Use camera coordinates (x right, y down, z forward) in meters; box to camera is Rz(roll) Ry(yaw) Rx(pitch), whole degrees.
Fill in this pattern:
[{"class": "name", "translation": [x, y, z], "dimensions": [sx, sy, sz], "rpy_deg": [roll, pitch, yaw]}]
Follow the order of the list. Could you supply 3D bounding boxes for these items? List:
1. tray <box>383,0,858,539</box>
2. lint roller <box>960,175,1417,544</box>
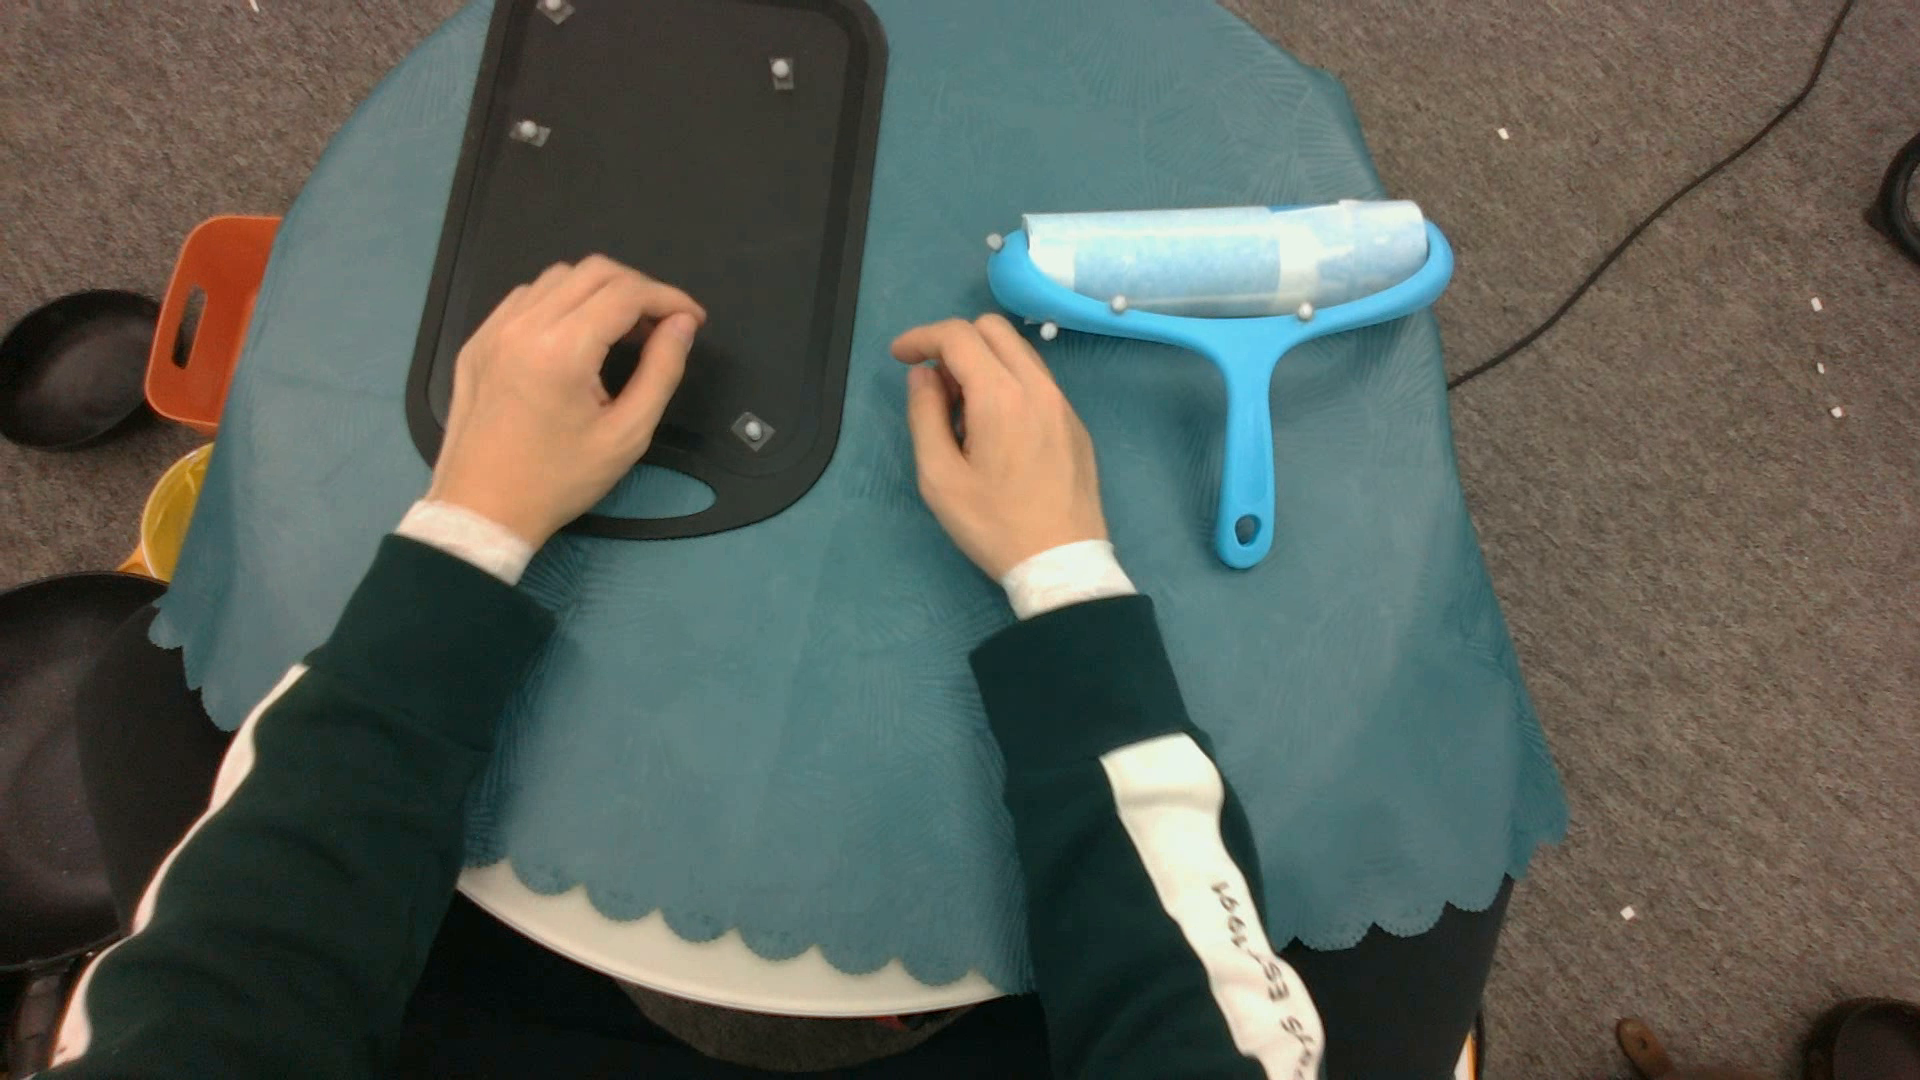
[{"class": "tray", "translation": [-0.167, -0.156, 0.698], "dimensions": [0.211, 0.010, 0.326], "rpy_deg": [5, 73, -2]}, {"class": "lint roller", "translation": [0.122, -0.093, 0.669], "dimensions": [0.229, 0.067, 0.180], "rpy_deg": [-7, 72, -7]}]
